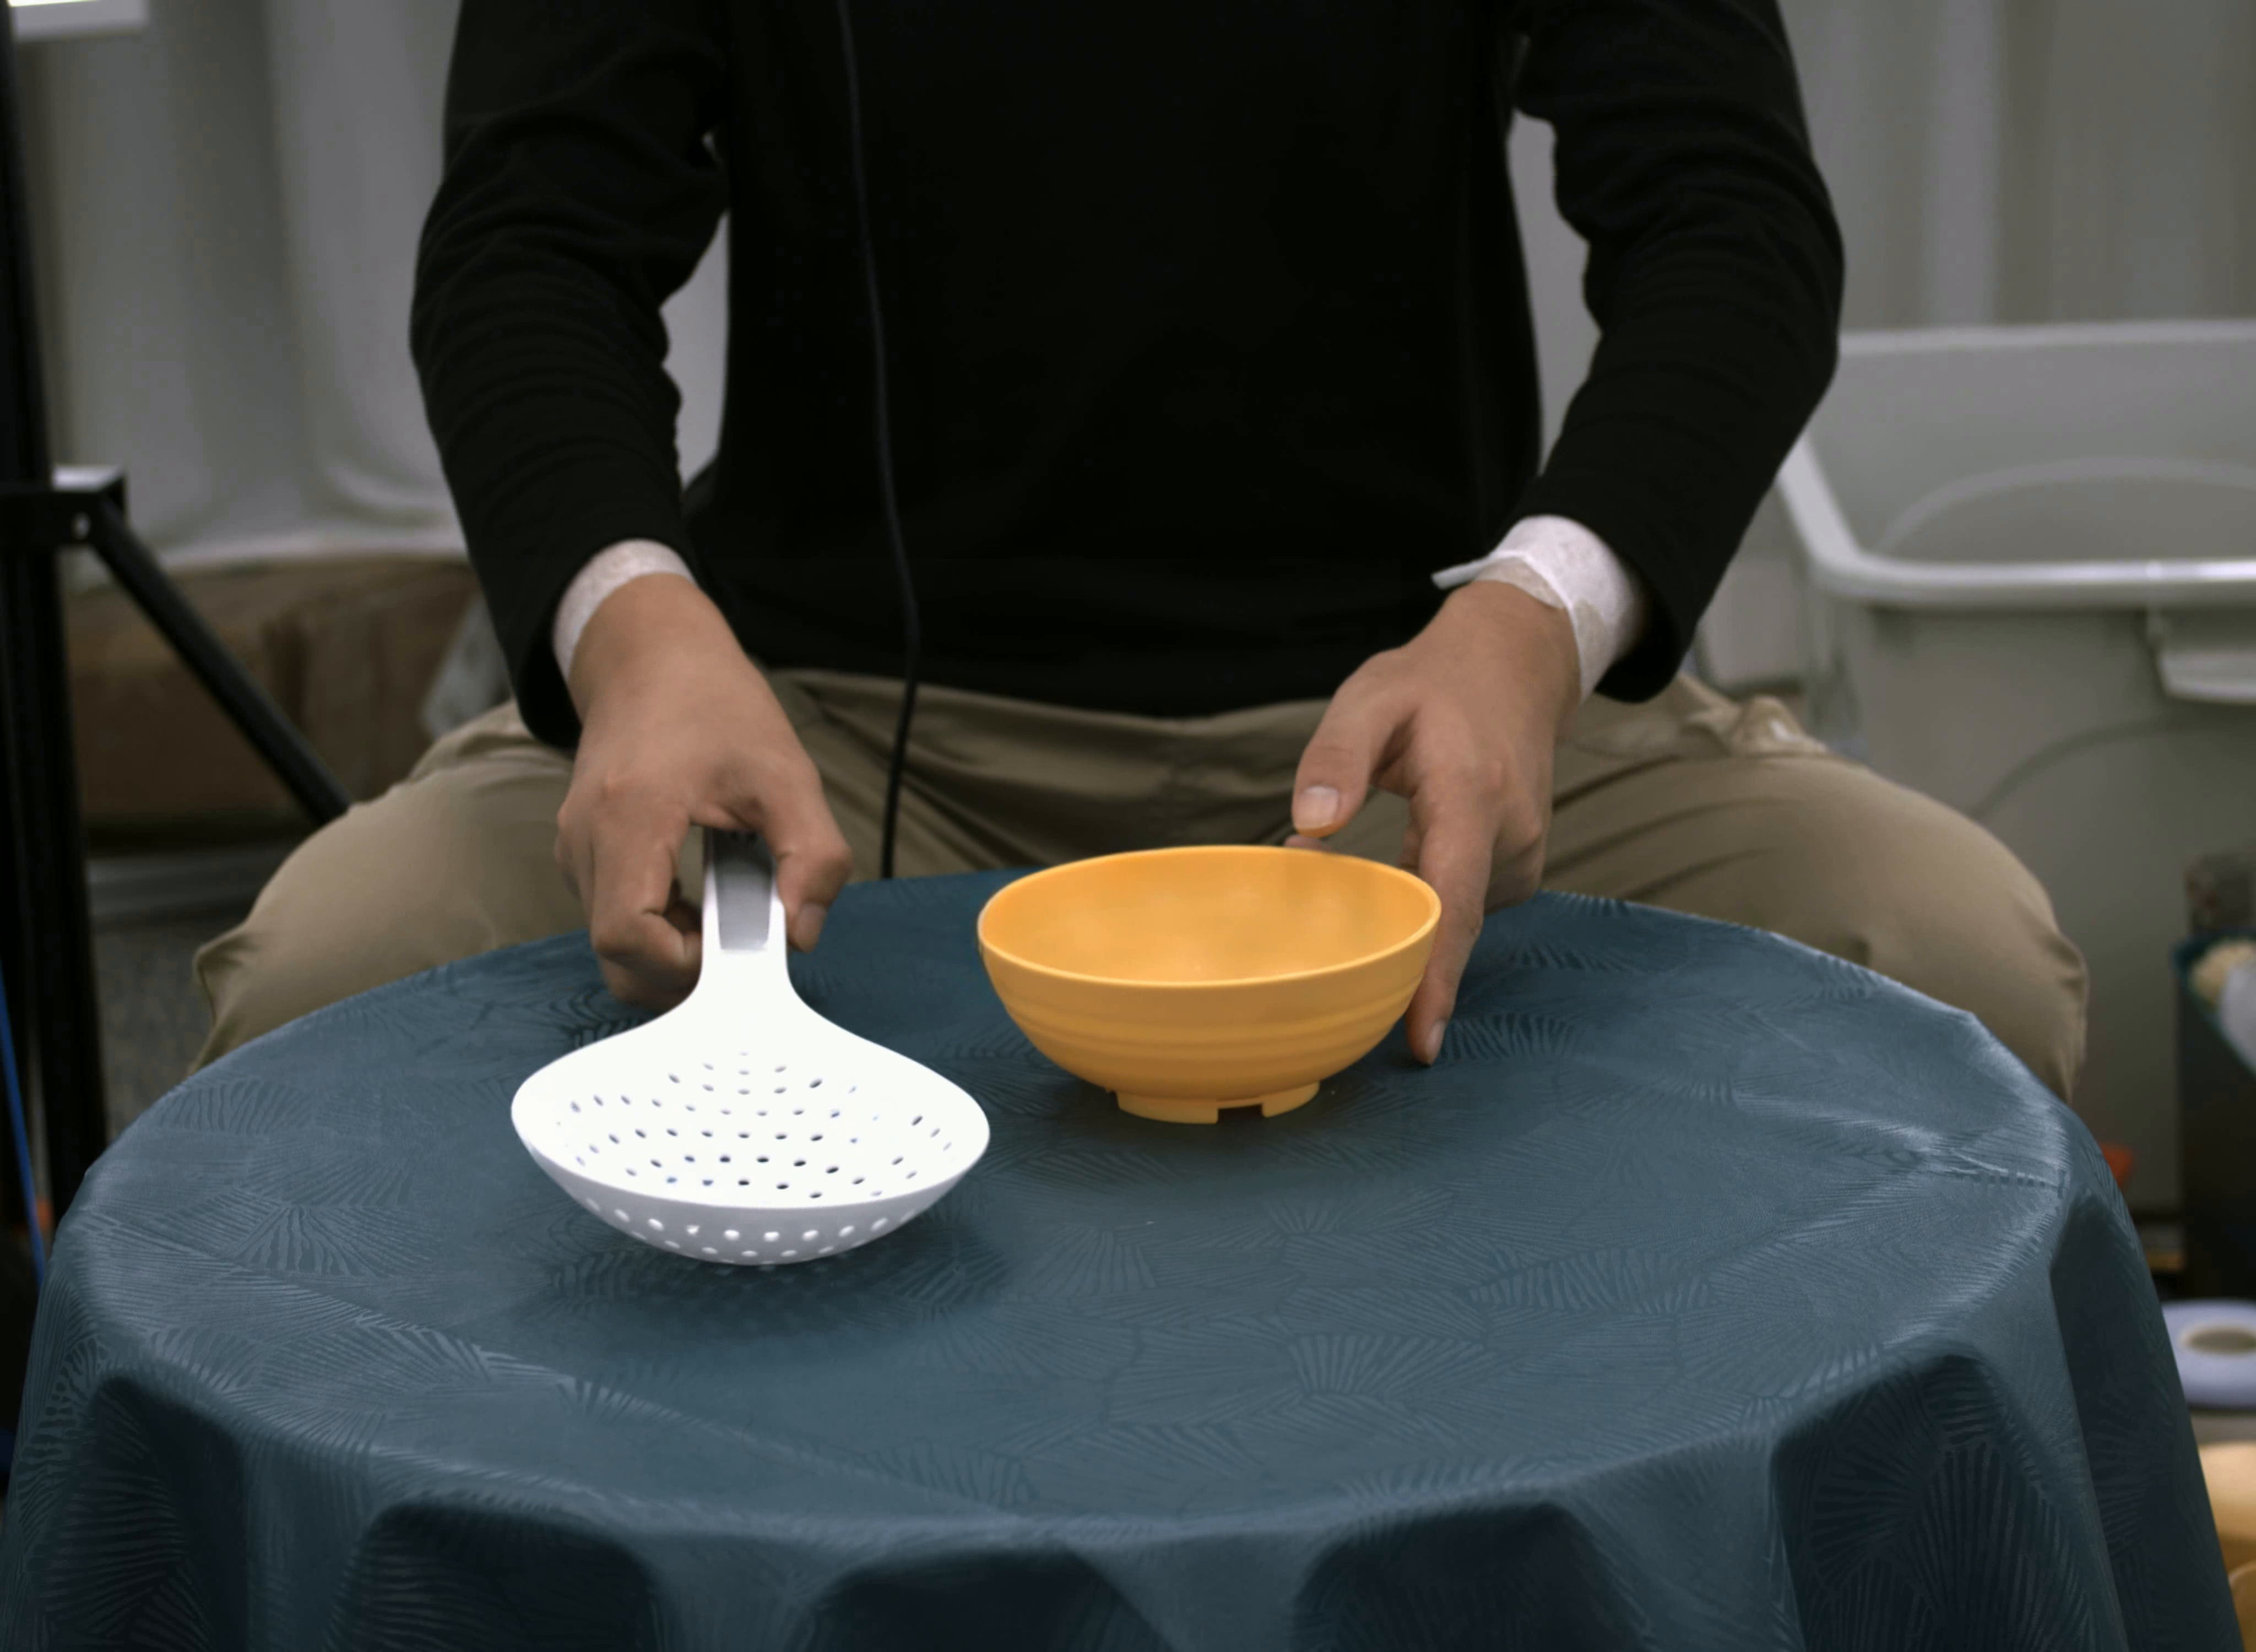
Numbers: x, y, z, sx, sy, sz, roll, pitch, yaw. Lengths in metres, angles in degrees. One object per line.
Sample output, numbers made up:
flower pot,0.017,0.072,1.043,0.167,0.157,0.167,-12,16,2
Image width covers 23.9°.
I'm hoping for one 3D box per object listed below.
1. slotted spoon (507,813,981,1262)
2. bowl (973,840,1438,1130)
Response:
slotted spoon,-0.117,0.056,1.623,0.135,0.045,0.353,0,22,-4
bowl,0.024,0.055,1.640,0.144,0.060,0.146,-2,18,-1
